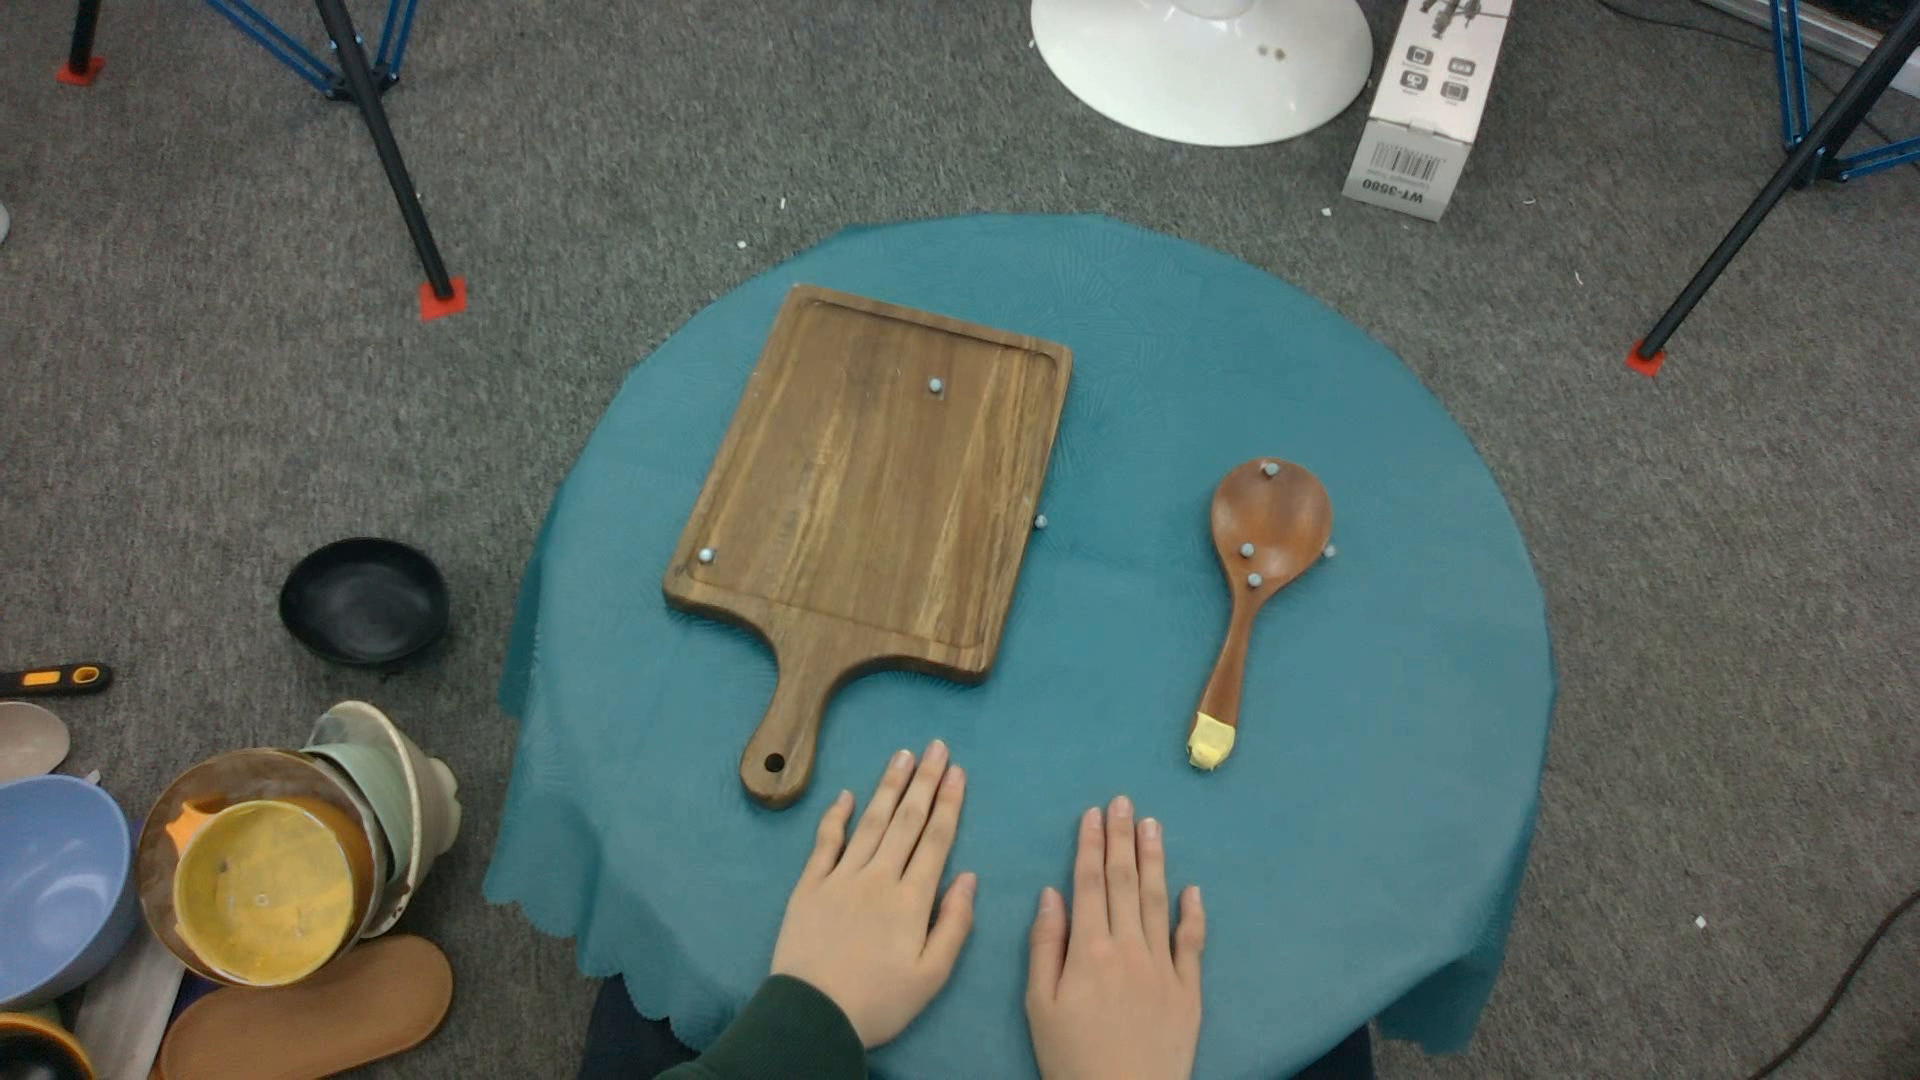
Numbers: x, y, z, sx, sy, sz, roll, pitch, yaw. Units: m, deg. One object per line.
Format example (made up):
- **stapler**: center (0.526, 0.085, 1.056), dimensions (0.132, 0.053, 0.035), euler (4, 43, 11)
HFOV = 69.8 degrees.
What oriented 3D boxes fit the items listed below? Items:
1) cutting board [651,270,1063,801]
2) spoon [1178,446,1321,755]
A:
- **cutting board**: center (-0.066, -0.011, 0.818), dimensions (0.201, 0.023, 0.354), euler (15, 58, 3)
- **spoon**: center (0.163, 0.031, 0.812), dimensions (0.075, 0.017, 0.217), euler (19, 58, 5)
